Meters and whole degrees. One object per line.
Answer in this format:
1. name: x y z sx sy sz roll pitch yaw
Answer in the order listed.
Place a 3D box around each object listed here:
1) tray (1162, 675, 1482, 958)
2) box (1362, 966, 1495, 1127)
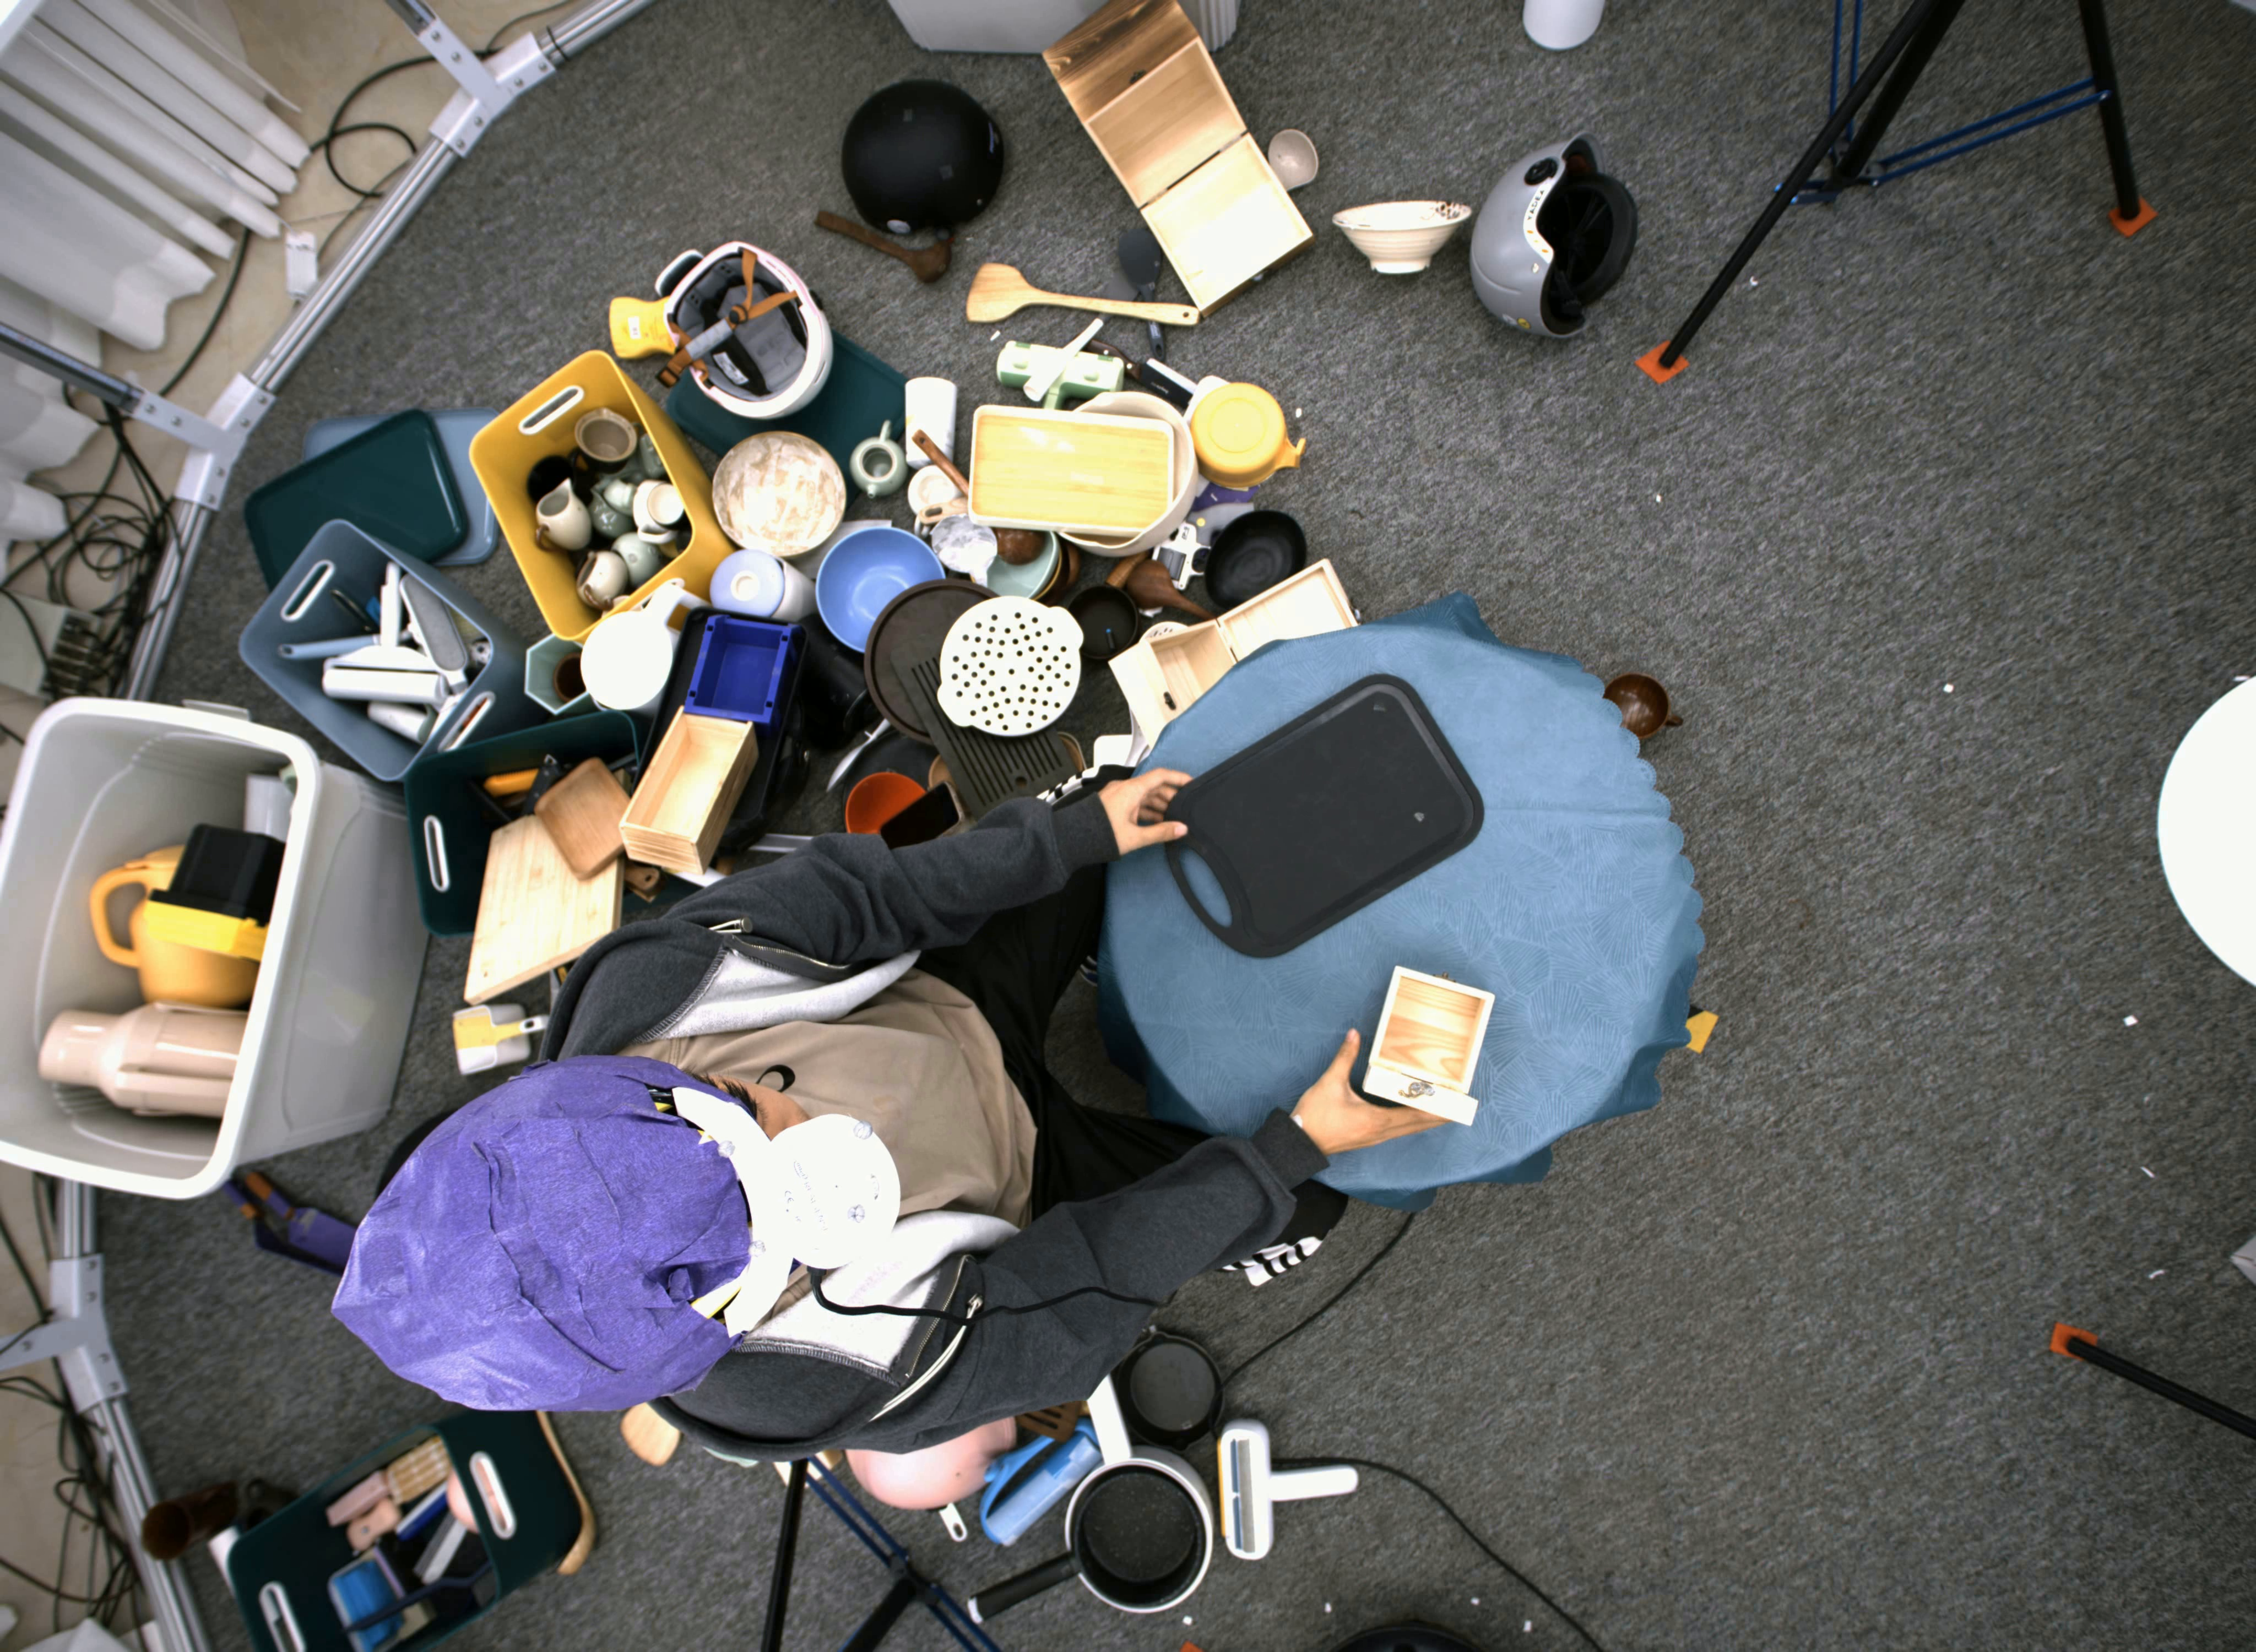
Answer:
1. tray: 0.198 -0.006 1.465 0.327 0.010 0.210 -31 86 6
2. box: 0.297 0.207 1.353 0.103 0.184 0.134 16 89 10
